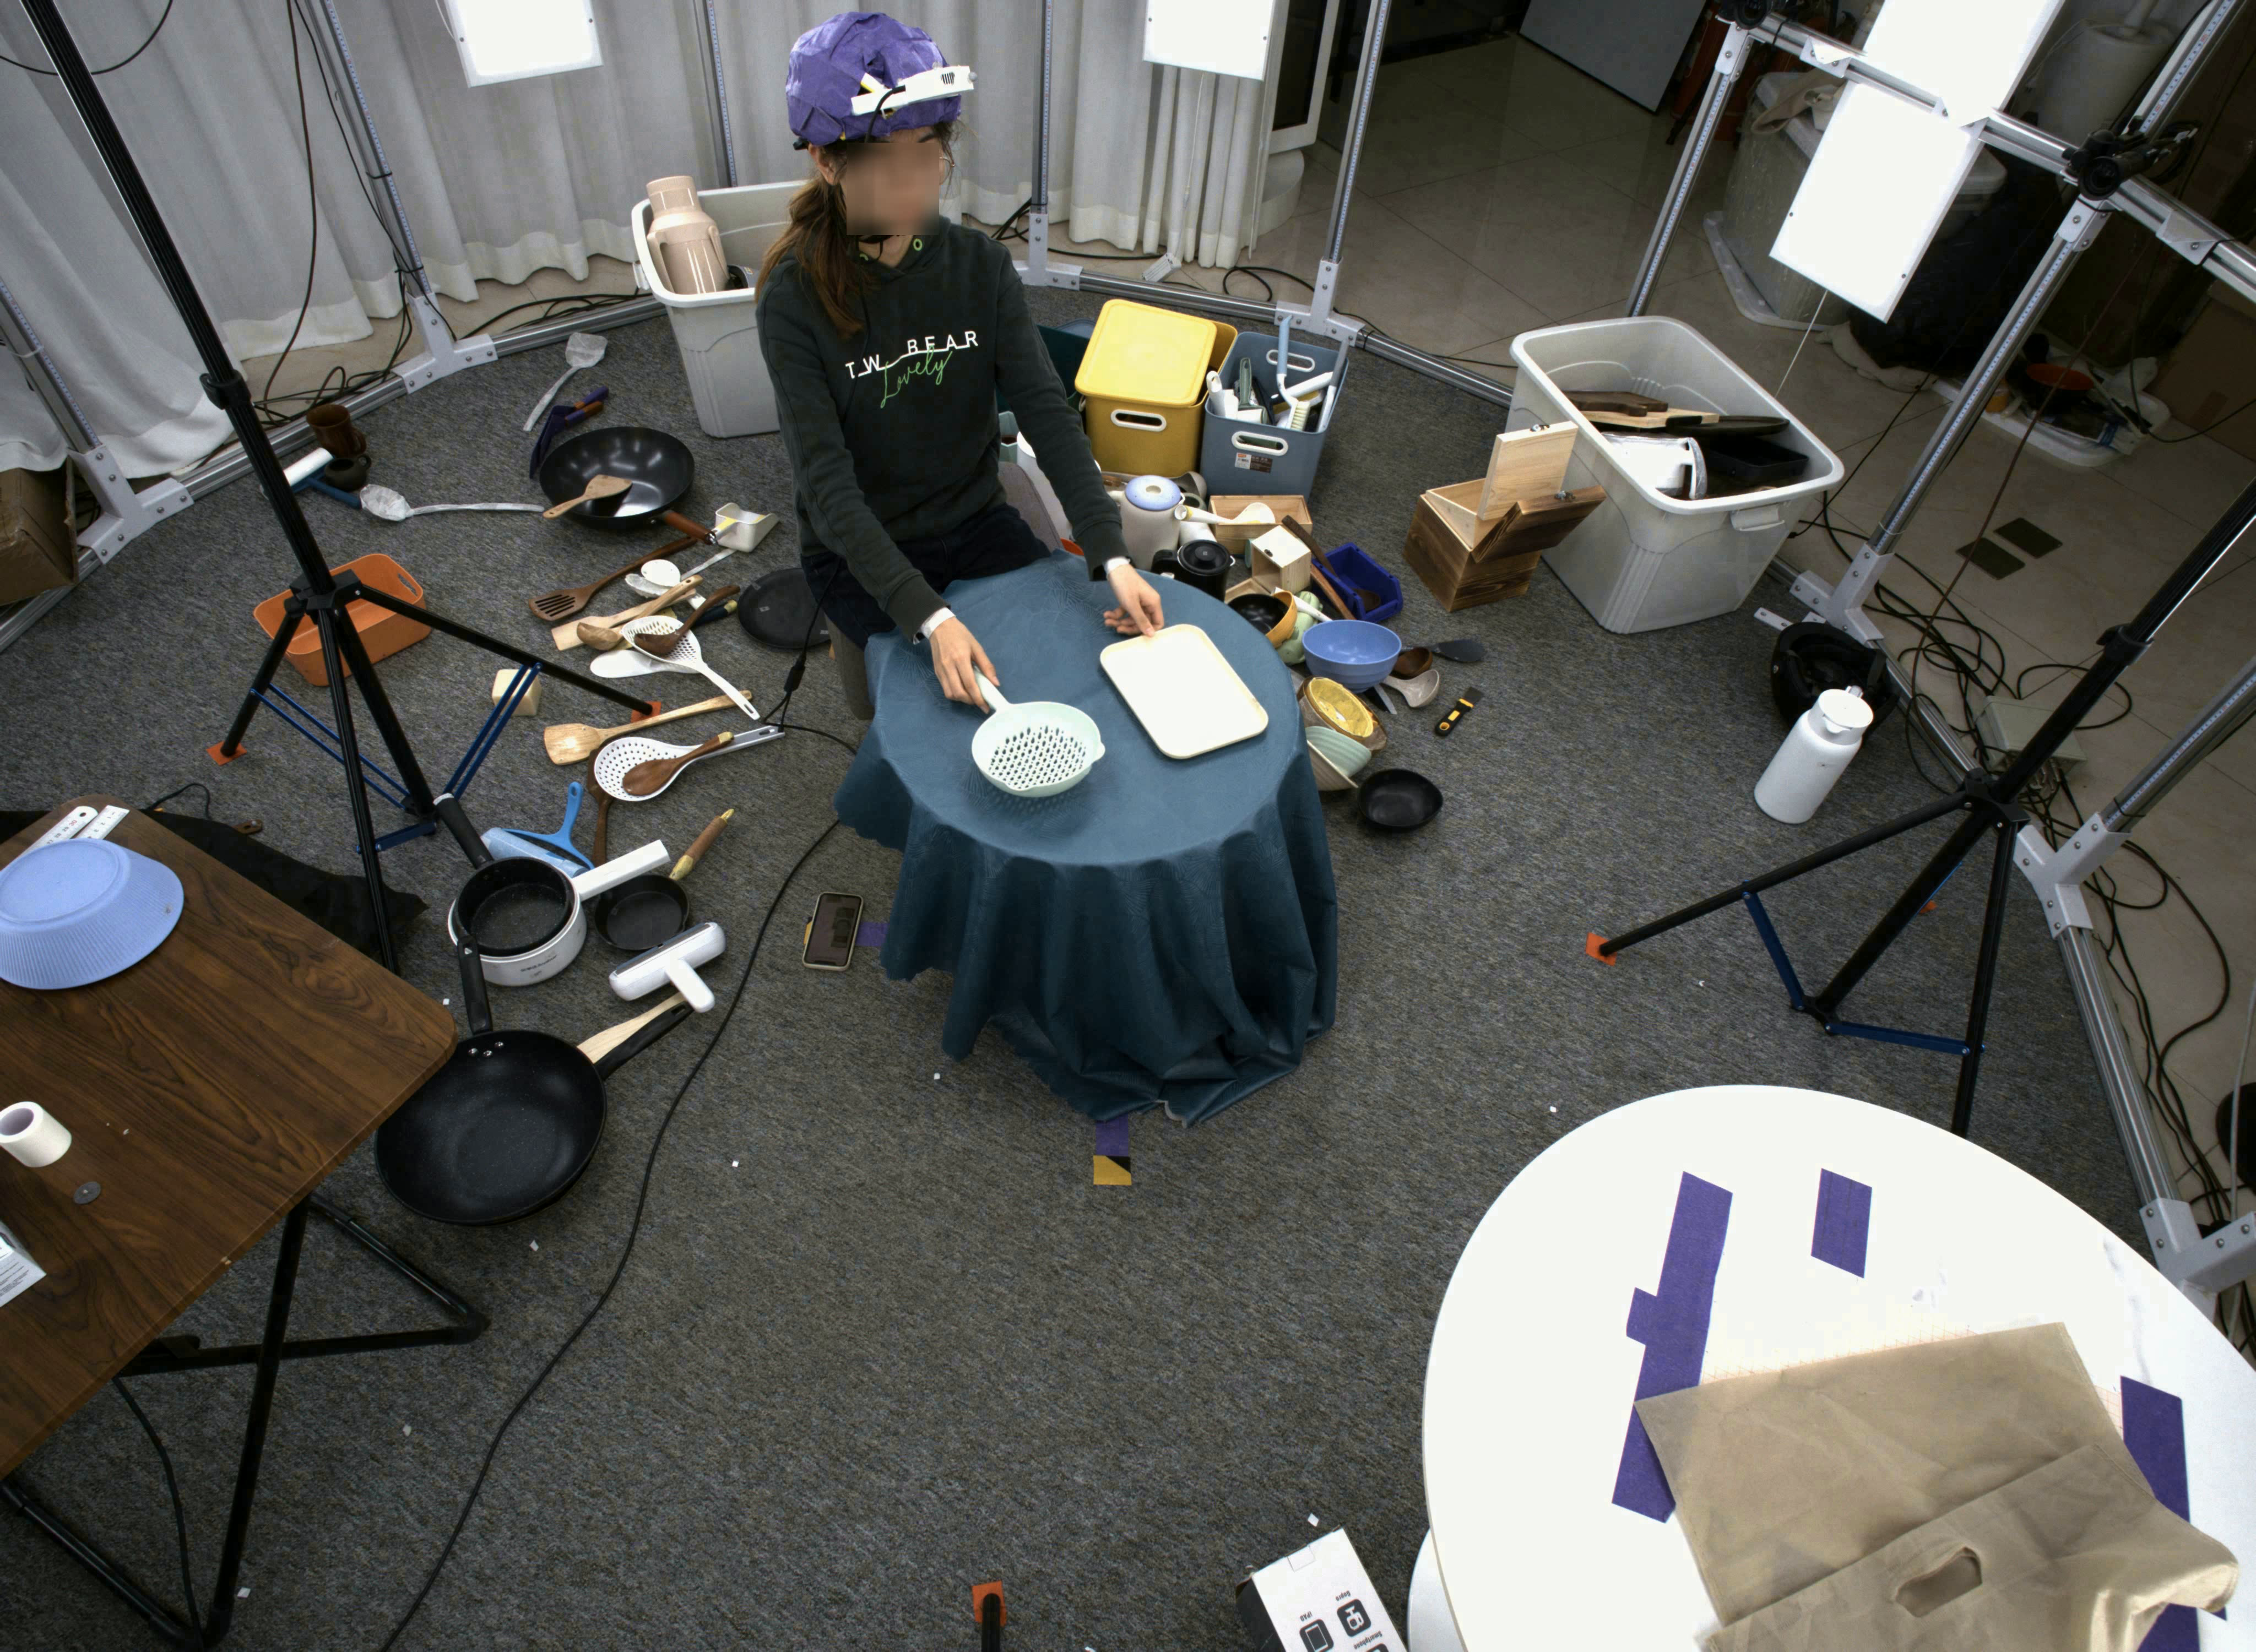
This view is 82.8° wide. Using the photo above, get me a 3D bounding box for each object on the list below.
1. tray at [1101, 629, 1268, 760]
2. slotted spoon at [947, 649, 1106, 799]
[{"bbox_3d":[0.079,-0.191,1.845,0.171,0.017,0.245,-19,52,-19],"label":"tray"},{"bbox_3d":[-0.169,-0.157,1.768,0.170,0.073,0.366,-23,54,-20],"label":"slotted spoon"}]
